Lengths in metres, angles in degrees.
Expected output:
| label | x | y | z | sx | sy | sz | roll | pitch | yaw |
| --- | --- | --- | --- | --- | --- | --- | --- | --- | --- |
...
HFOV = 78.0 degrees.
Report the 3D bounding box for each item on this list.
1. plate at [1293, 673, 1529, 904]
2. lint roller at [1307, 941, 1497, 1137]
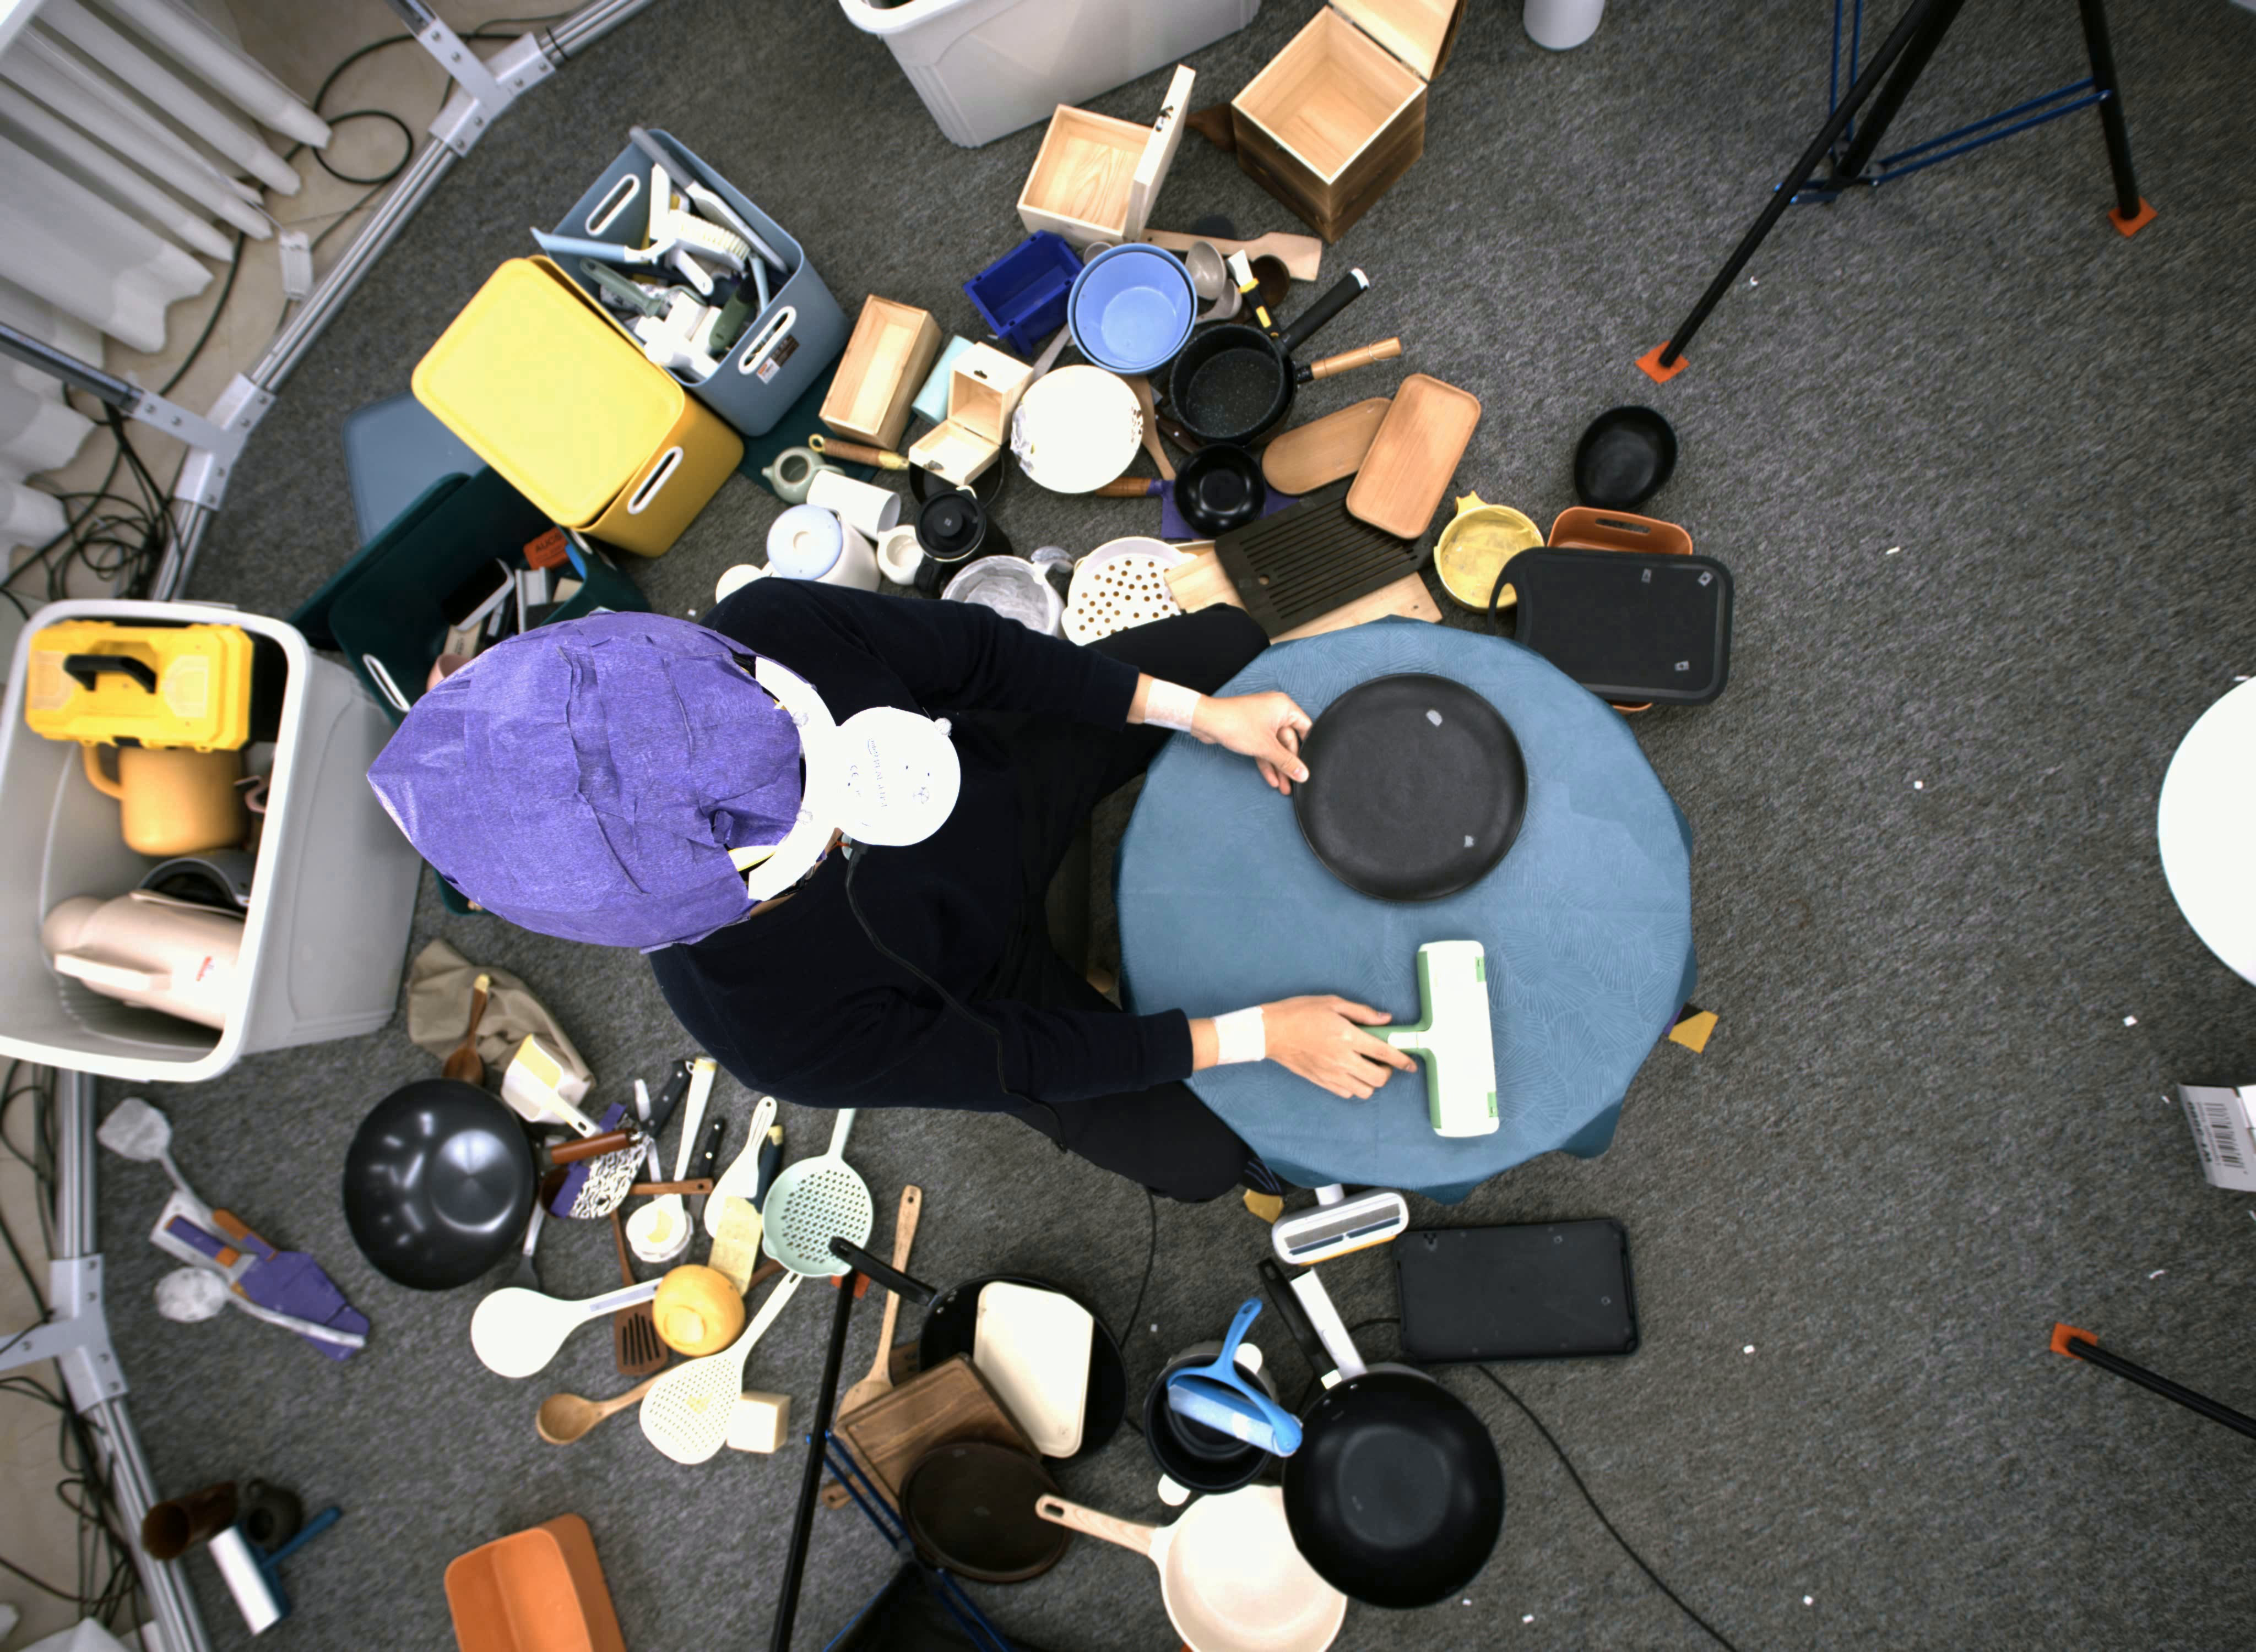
| label | x | y | z | sx | sy | sz | roll | pitch | yaw |
| --- | --- | --- | --- | --- | --- | --- | --- | --- | --- |
| plate | 0.296 | -0.041 | 1.447 | 0.245 | 0.023 | 0.243 | -1 | 88 | 11 |
| lint roller | 0.276 | 0.218 | 1.407 | 0.184 | 0.082 | 0.197 | -5 | 84 | 4 |
